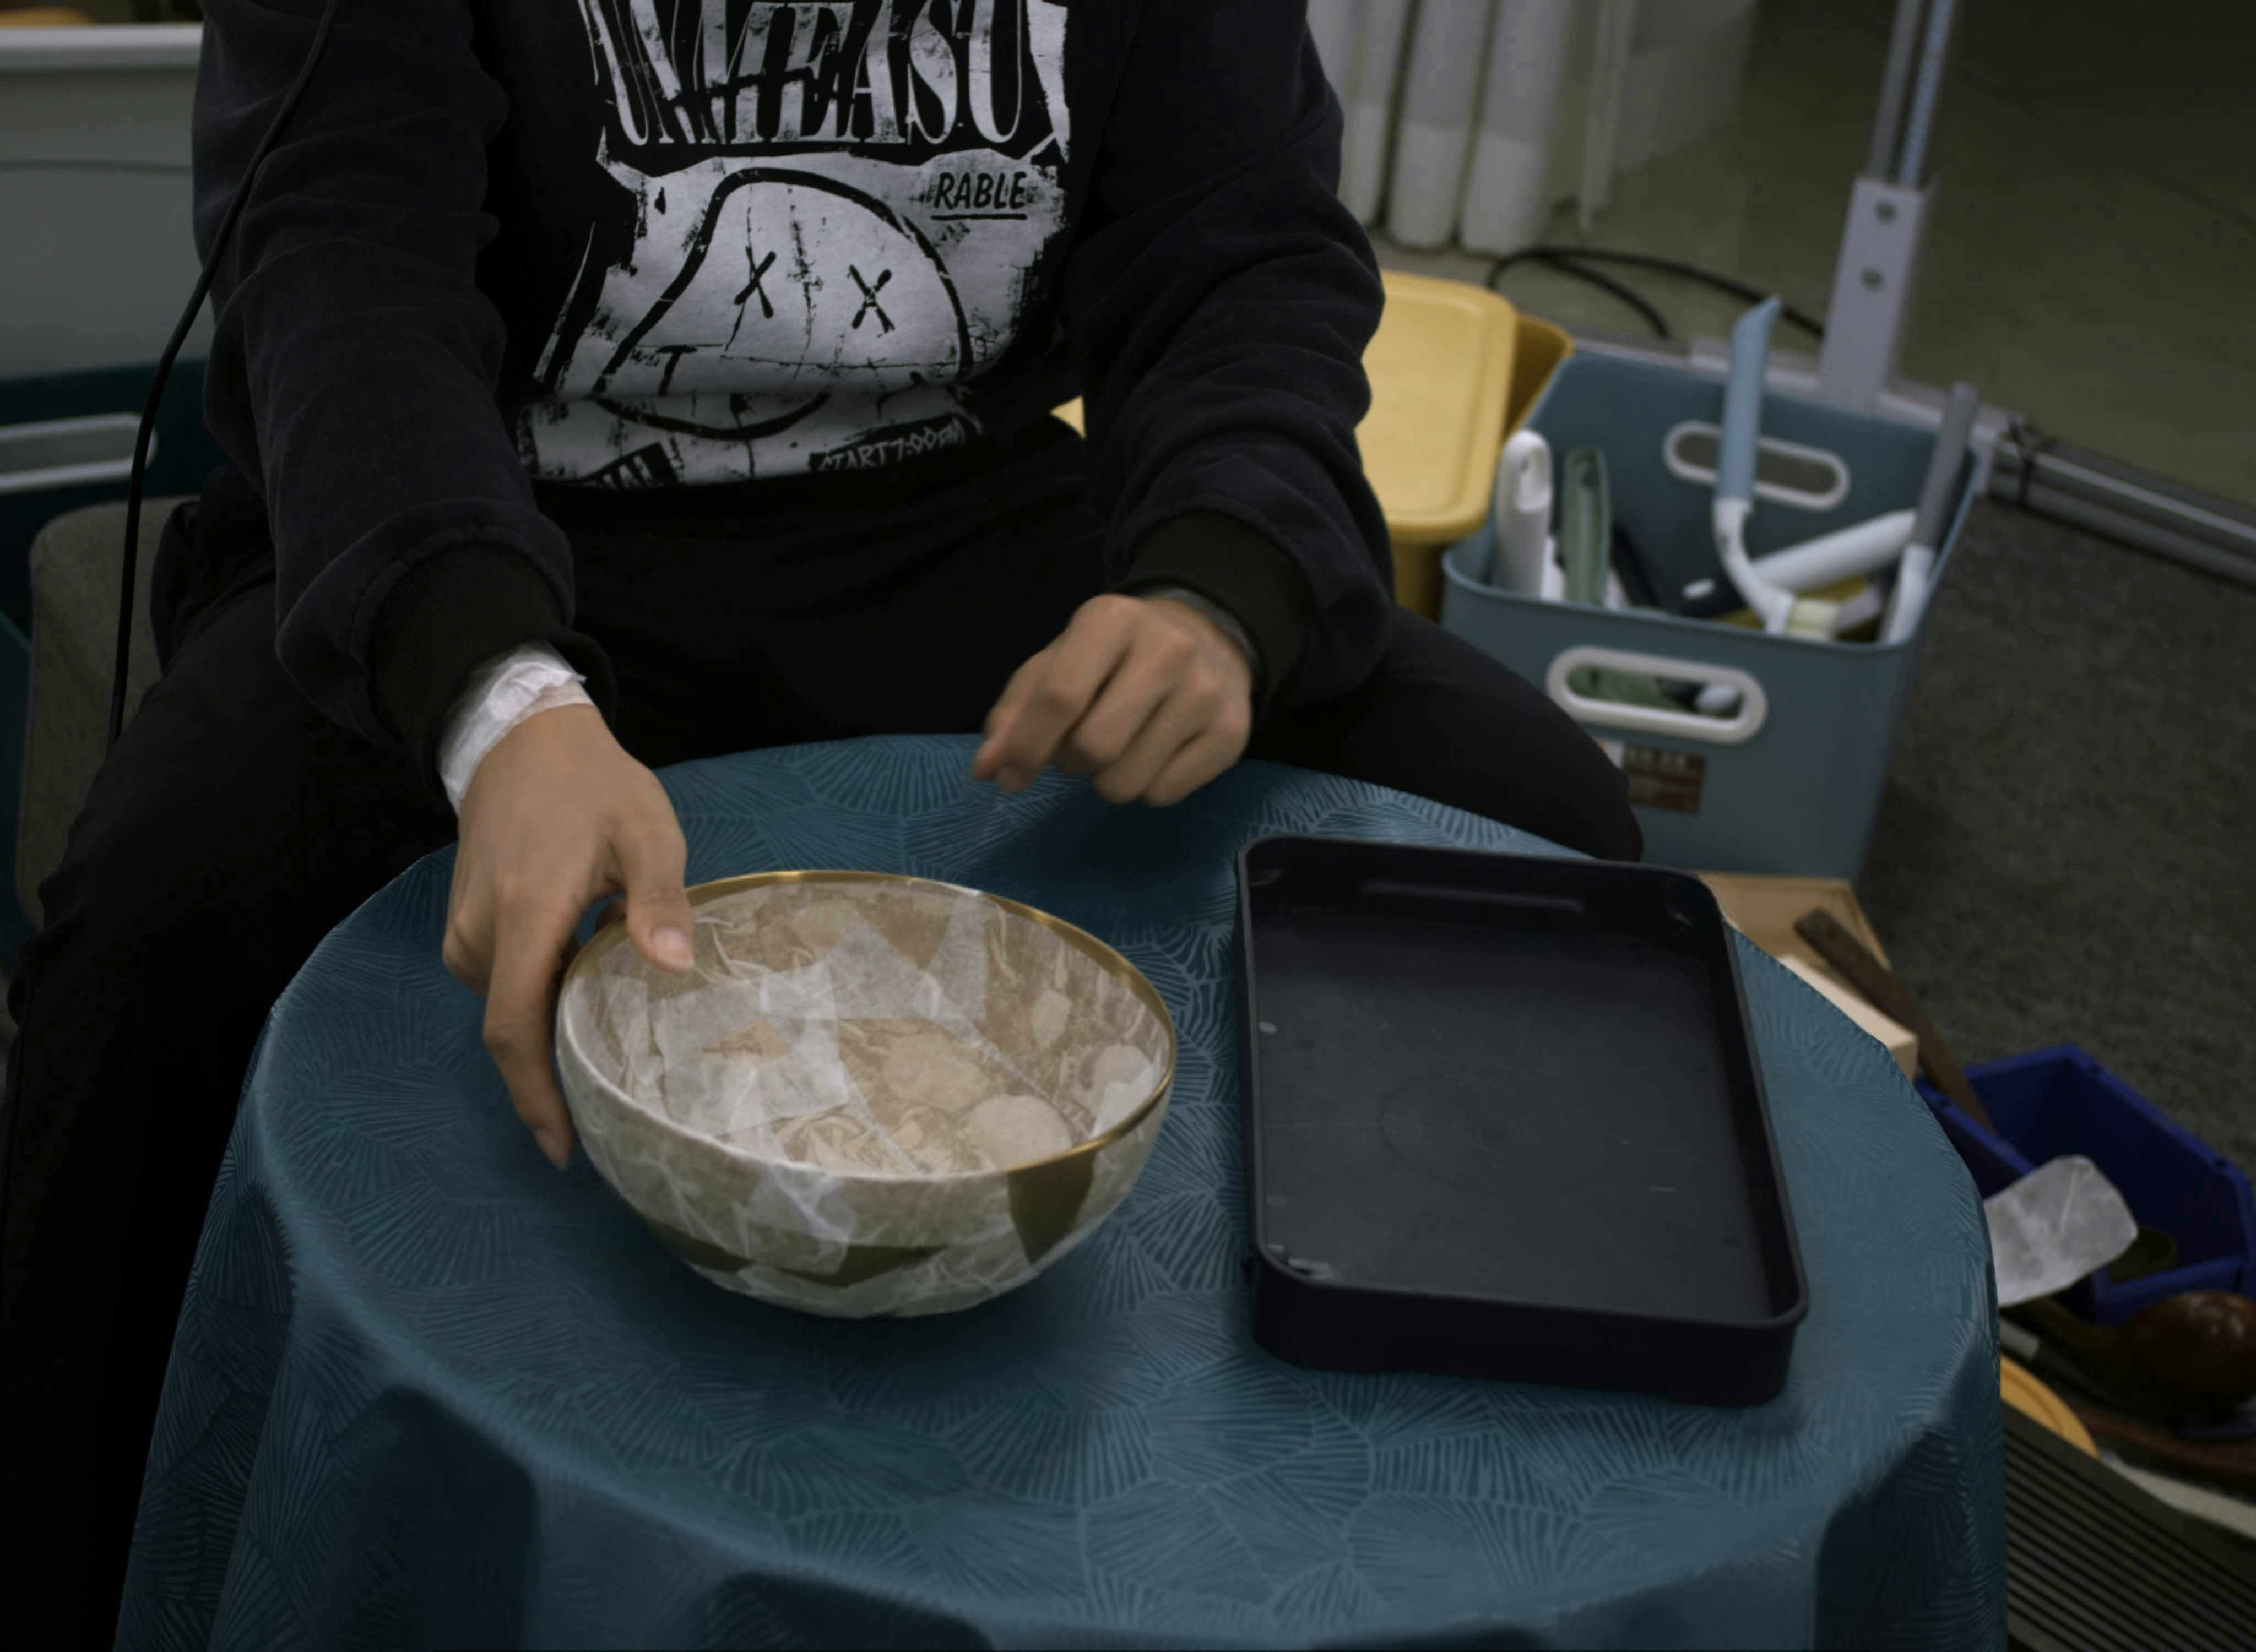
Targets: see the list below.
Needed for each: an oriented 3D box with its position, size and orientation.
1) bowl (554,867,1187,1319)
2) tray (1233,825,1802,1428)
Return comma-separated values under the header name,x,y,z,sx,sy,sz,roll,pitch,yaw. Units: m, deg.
name,x,y,z,sx,sy,sz,roll,pitch,yaw
bowl,-0.084,0.098,1.728,0.214,0.094,0.216,4,27,-2
tray,0.129,0.098,1.846,0.184,0.037,0.320,7,28,-2
